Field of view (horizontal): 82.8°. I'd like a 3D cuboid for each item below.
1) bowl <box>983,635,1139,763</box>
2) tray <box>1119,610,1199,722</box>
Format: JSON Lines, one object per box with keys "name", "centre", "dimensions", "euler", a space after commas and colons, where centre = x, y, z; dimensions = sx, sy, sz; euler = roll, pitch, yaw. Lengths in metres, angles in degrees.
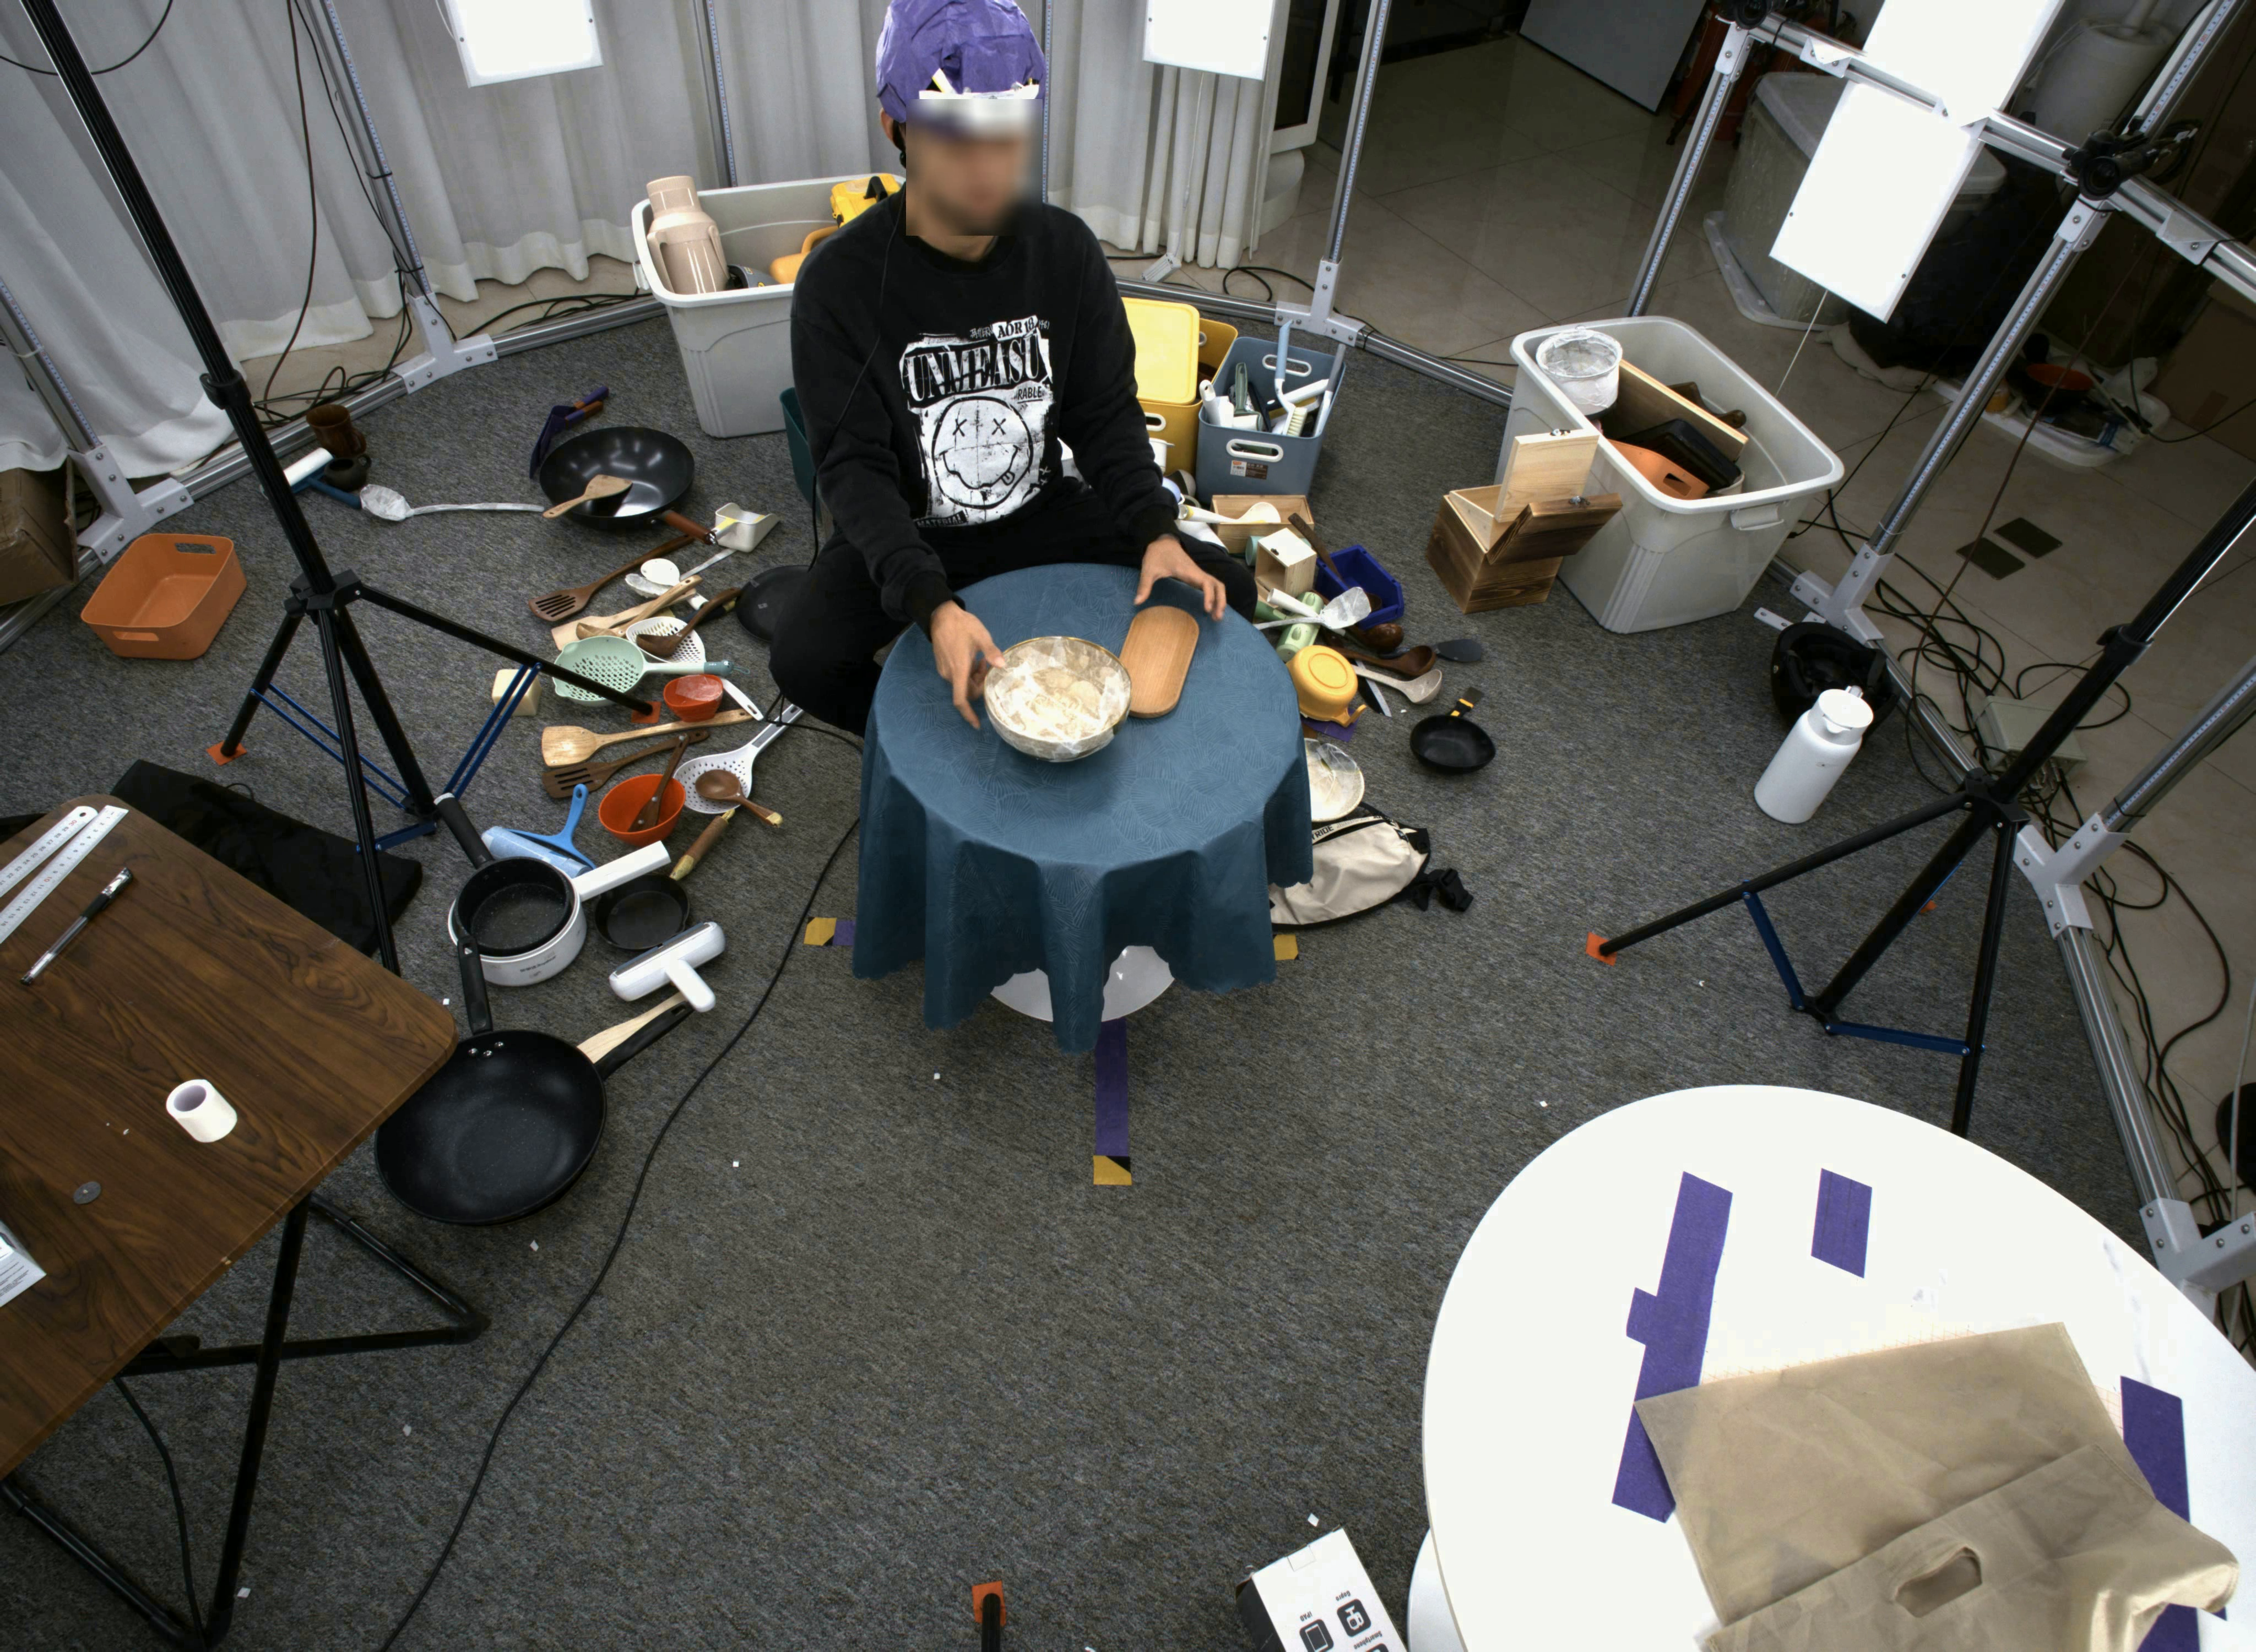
{"name": "bowl", "centre": [-0.092, -0.159, 1.757], "dimensions": [0.214, 0.092, 0.220], "euler": [1, 49, -1]}
{"name": "tray", "centre": [0.041, -0.237, 1.884], "dimensions": [0.102, 0.020, 0.236], "euler": [10, 51, 8]}
